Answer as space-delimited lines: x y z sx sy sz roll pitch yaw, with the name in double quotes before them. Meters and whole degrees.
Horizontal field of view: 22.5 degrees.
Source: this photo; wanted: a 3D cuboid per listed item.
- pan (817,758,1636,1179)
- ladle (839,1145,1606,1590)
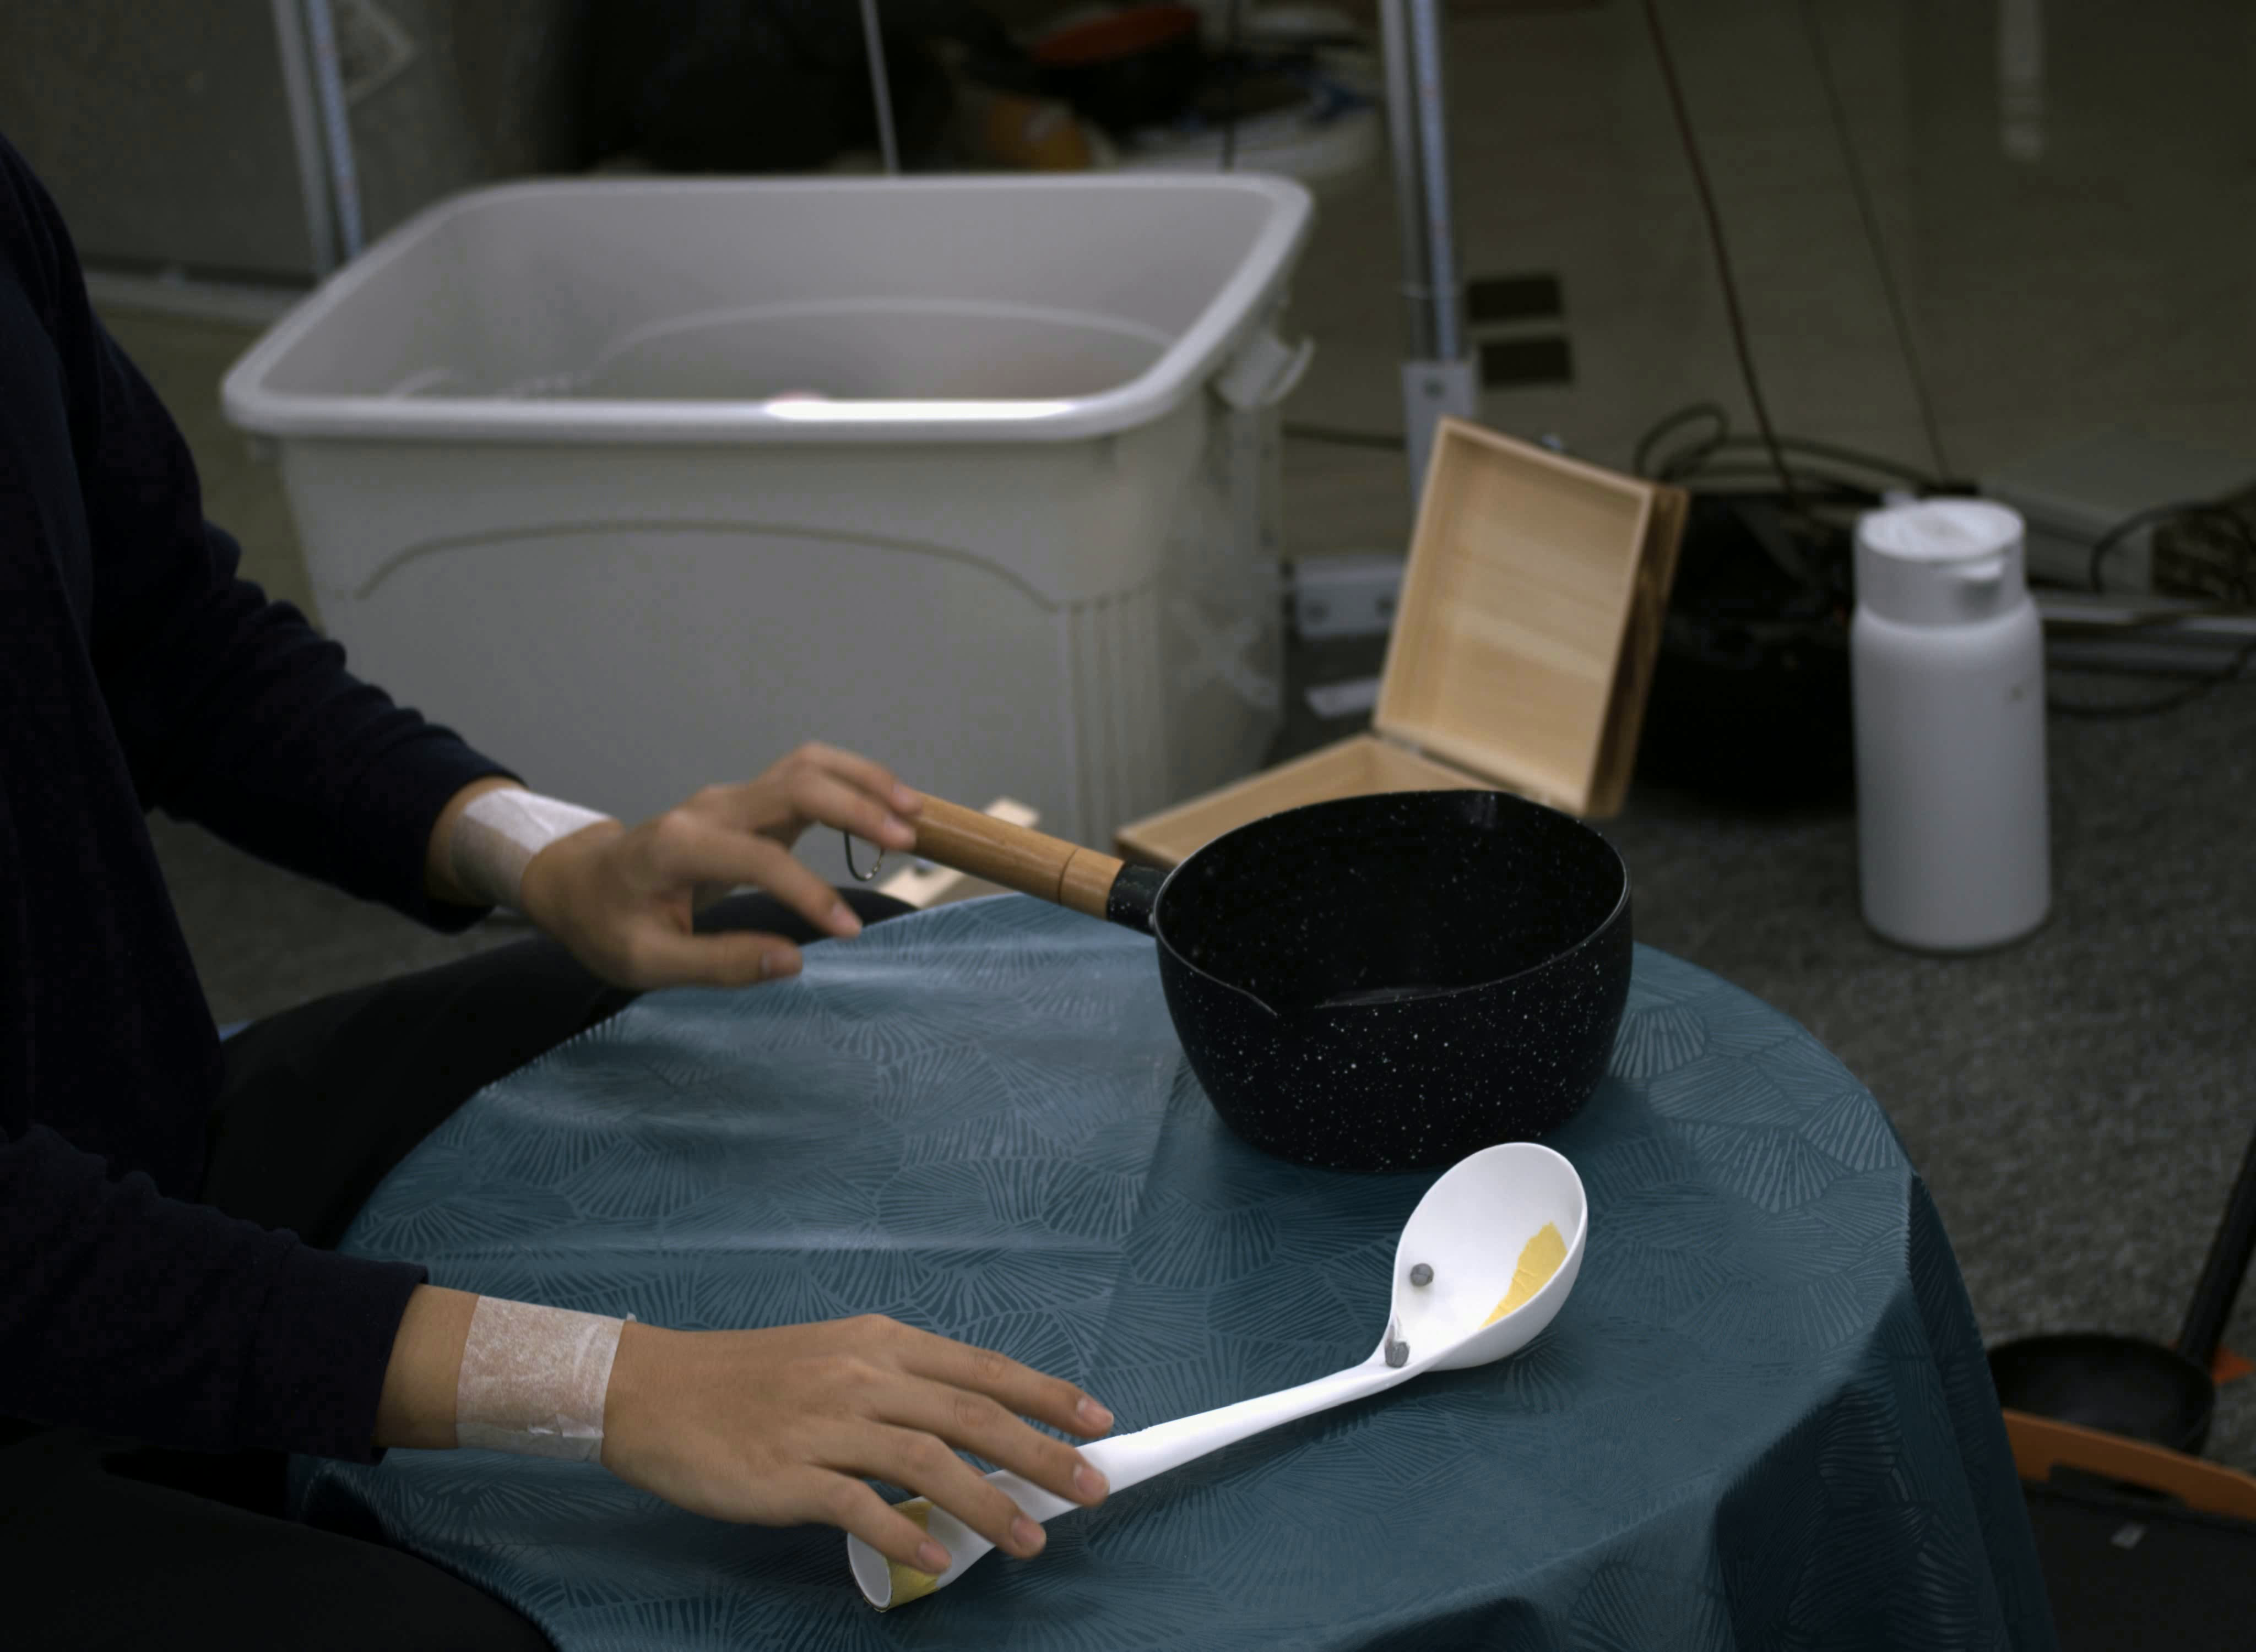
"pan" 0.032 0.044 2.212 0.341 0.110 0.205 8 30 25
"ladle" 0.034 0.187 1.962 0.291 0.071 0.089 -16 24 -23
